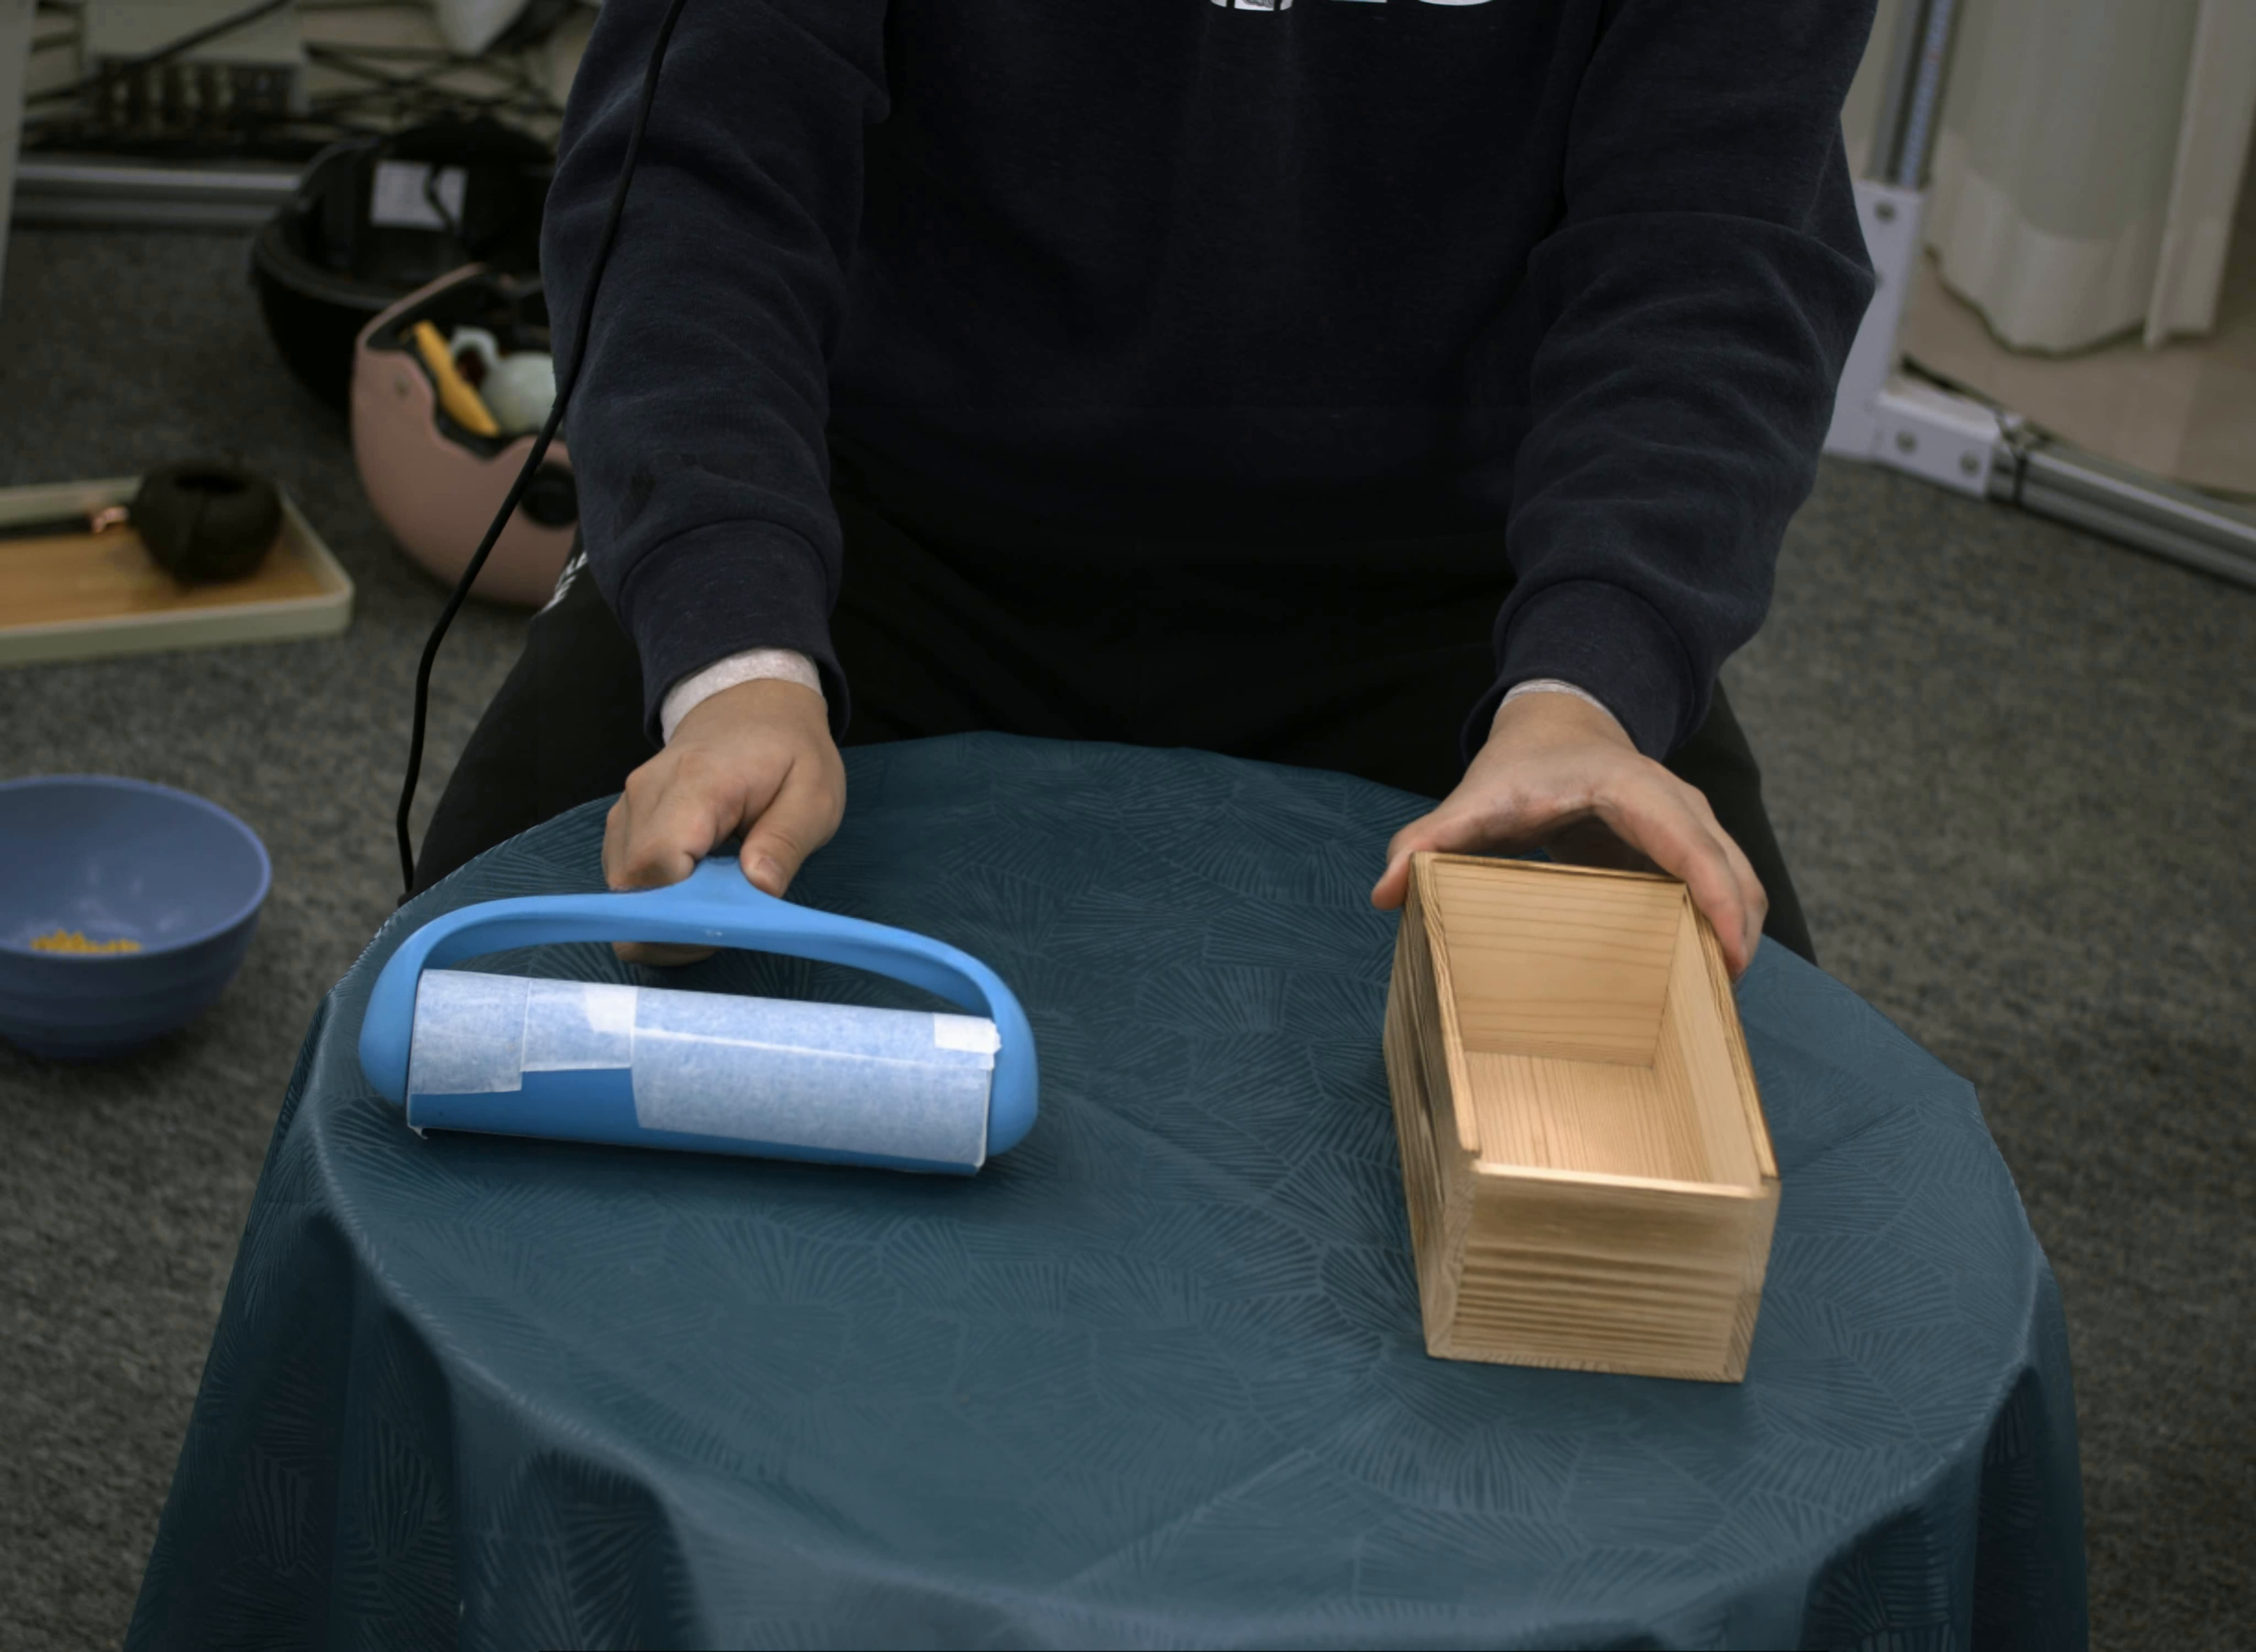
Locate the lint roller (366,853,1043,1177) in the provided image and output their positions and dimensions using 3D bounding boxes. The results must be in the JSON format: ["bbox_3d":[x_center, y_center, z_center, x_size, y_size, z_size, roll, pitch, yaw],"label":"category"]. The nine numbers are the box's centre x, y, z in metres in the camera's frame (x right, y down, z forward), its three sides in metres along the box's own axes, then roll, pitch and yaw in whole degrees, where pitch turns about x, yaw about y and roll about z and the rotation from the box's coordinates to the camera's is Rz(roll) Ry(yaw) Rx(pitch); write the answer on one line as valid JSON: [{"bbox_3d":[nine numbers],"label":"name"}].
[{"bbox_3d":[-0.144,0.048,1.841,0.228,0.067,0.181,2,35,-4],"label":"lint roller"}]

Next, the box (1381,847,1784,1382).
[{"bbox_3d":[0.151,0.095,1.811,0.107,0.080,0.213,5,27,-5],"label":"box"}]
